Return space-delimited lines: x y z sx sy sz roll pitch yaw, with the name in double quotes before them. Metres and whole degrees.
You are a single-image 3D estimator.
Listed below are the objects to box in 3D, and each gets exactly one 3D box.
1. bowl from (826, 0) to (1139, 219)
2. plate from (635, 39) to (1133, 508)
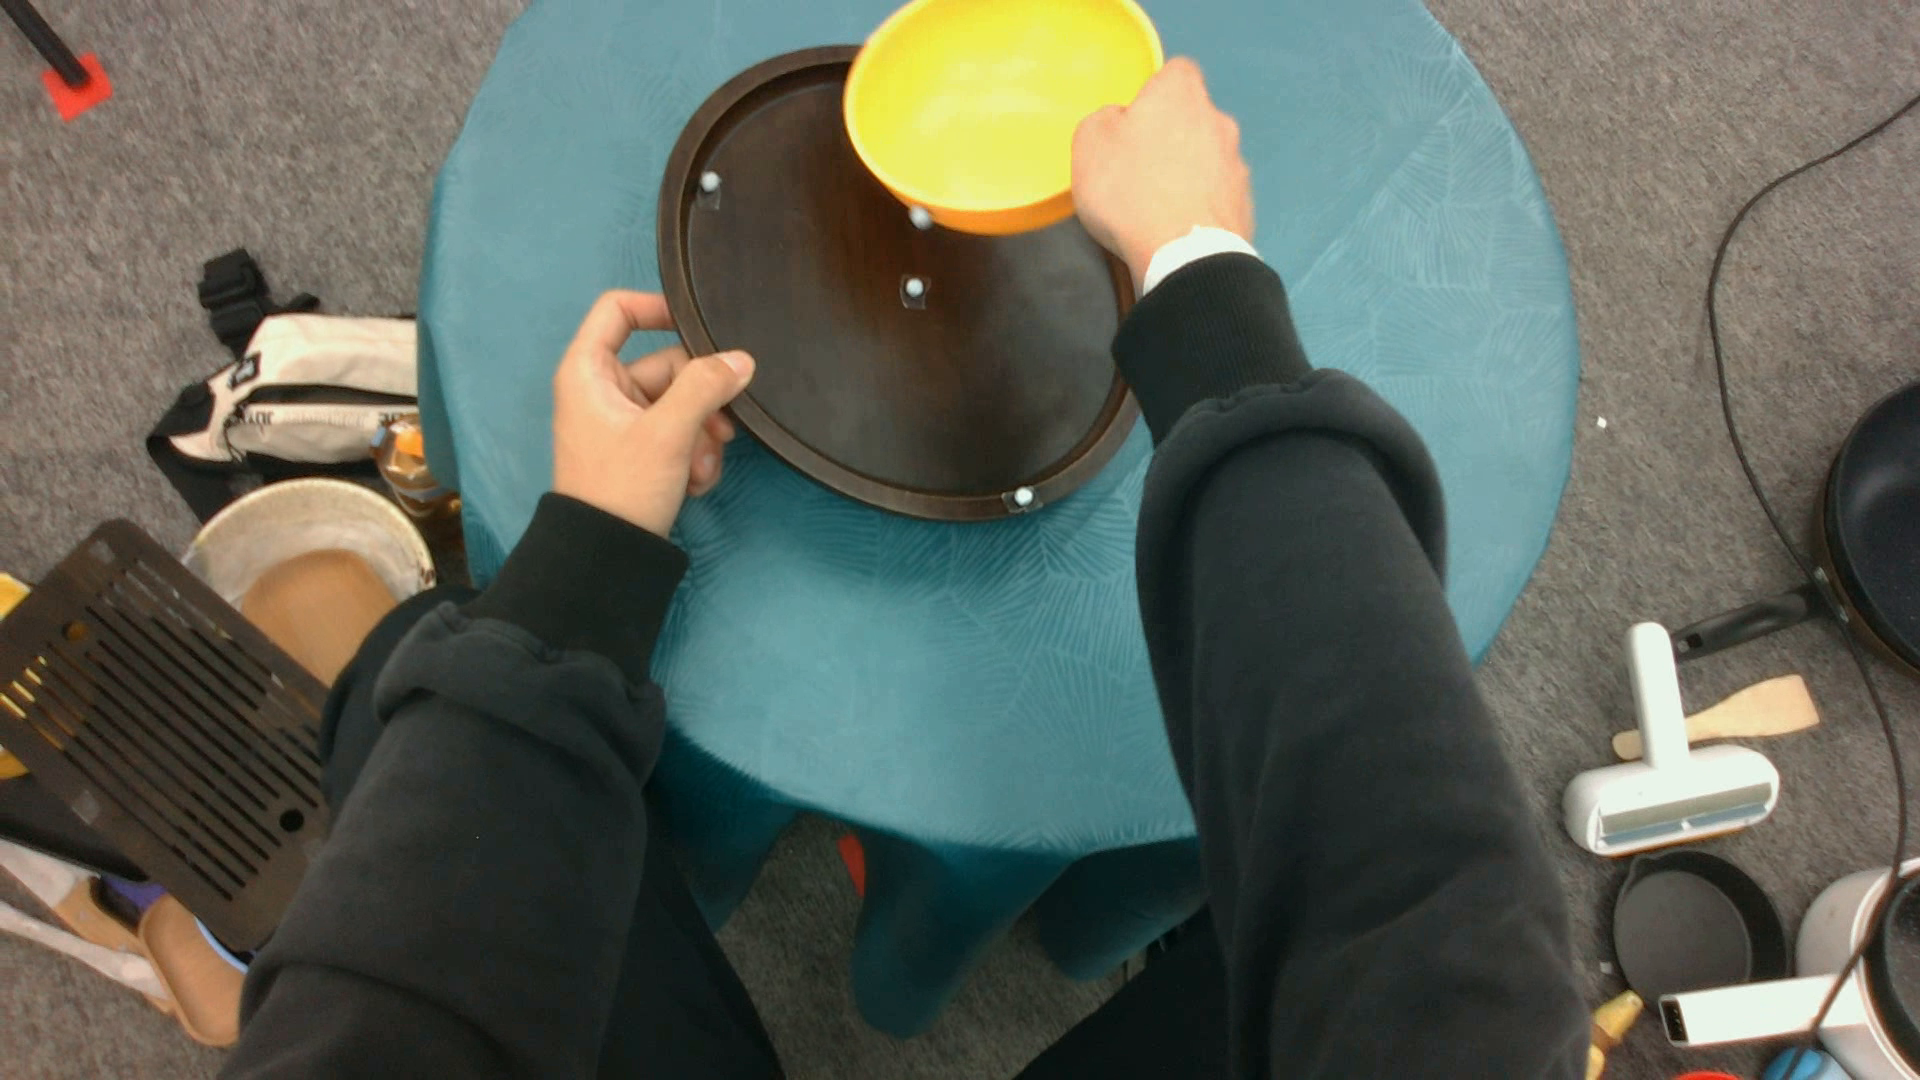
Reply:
"bowl" 0.013 -0.203 0.653 0.145 0.060 0.146 -2 65 5
"plate" -0.030 -0.131 0.662 0.255 0.029 0.255 10 66 -23
